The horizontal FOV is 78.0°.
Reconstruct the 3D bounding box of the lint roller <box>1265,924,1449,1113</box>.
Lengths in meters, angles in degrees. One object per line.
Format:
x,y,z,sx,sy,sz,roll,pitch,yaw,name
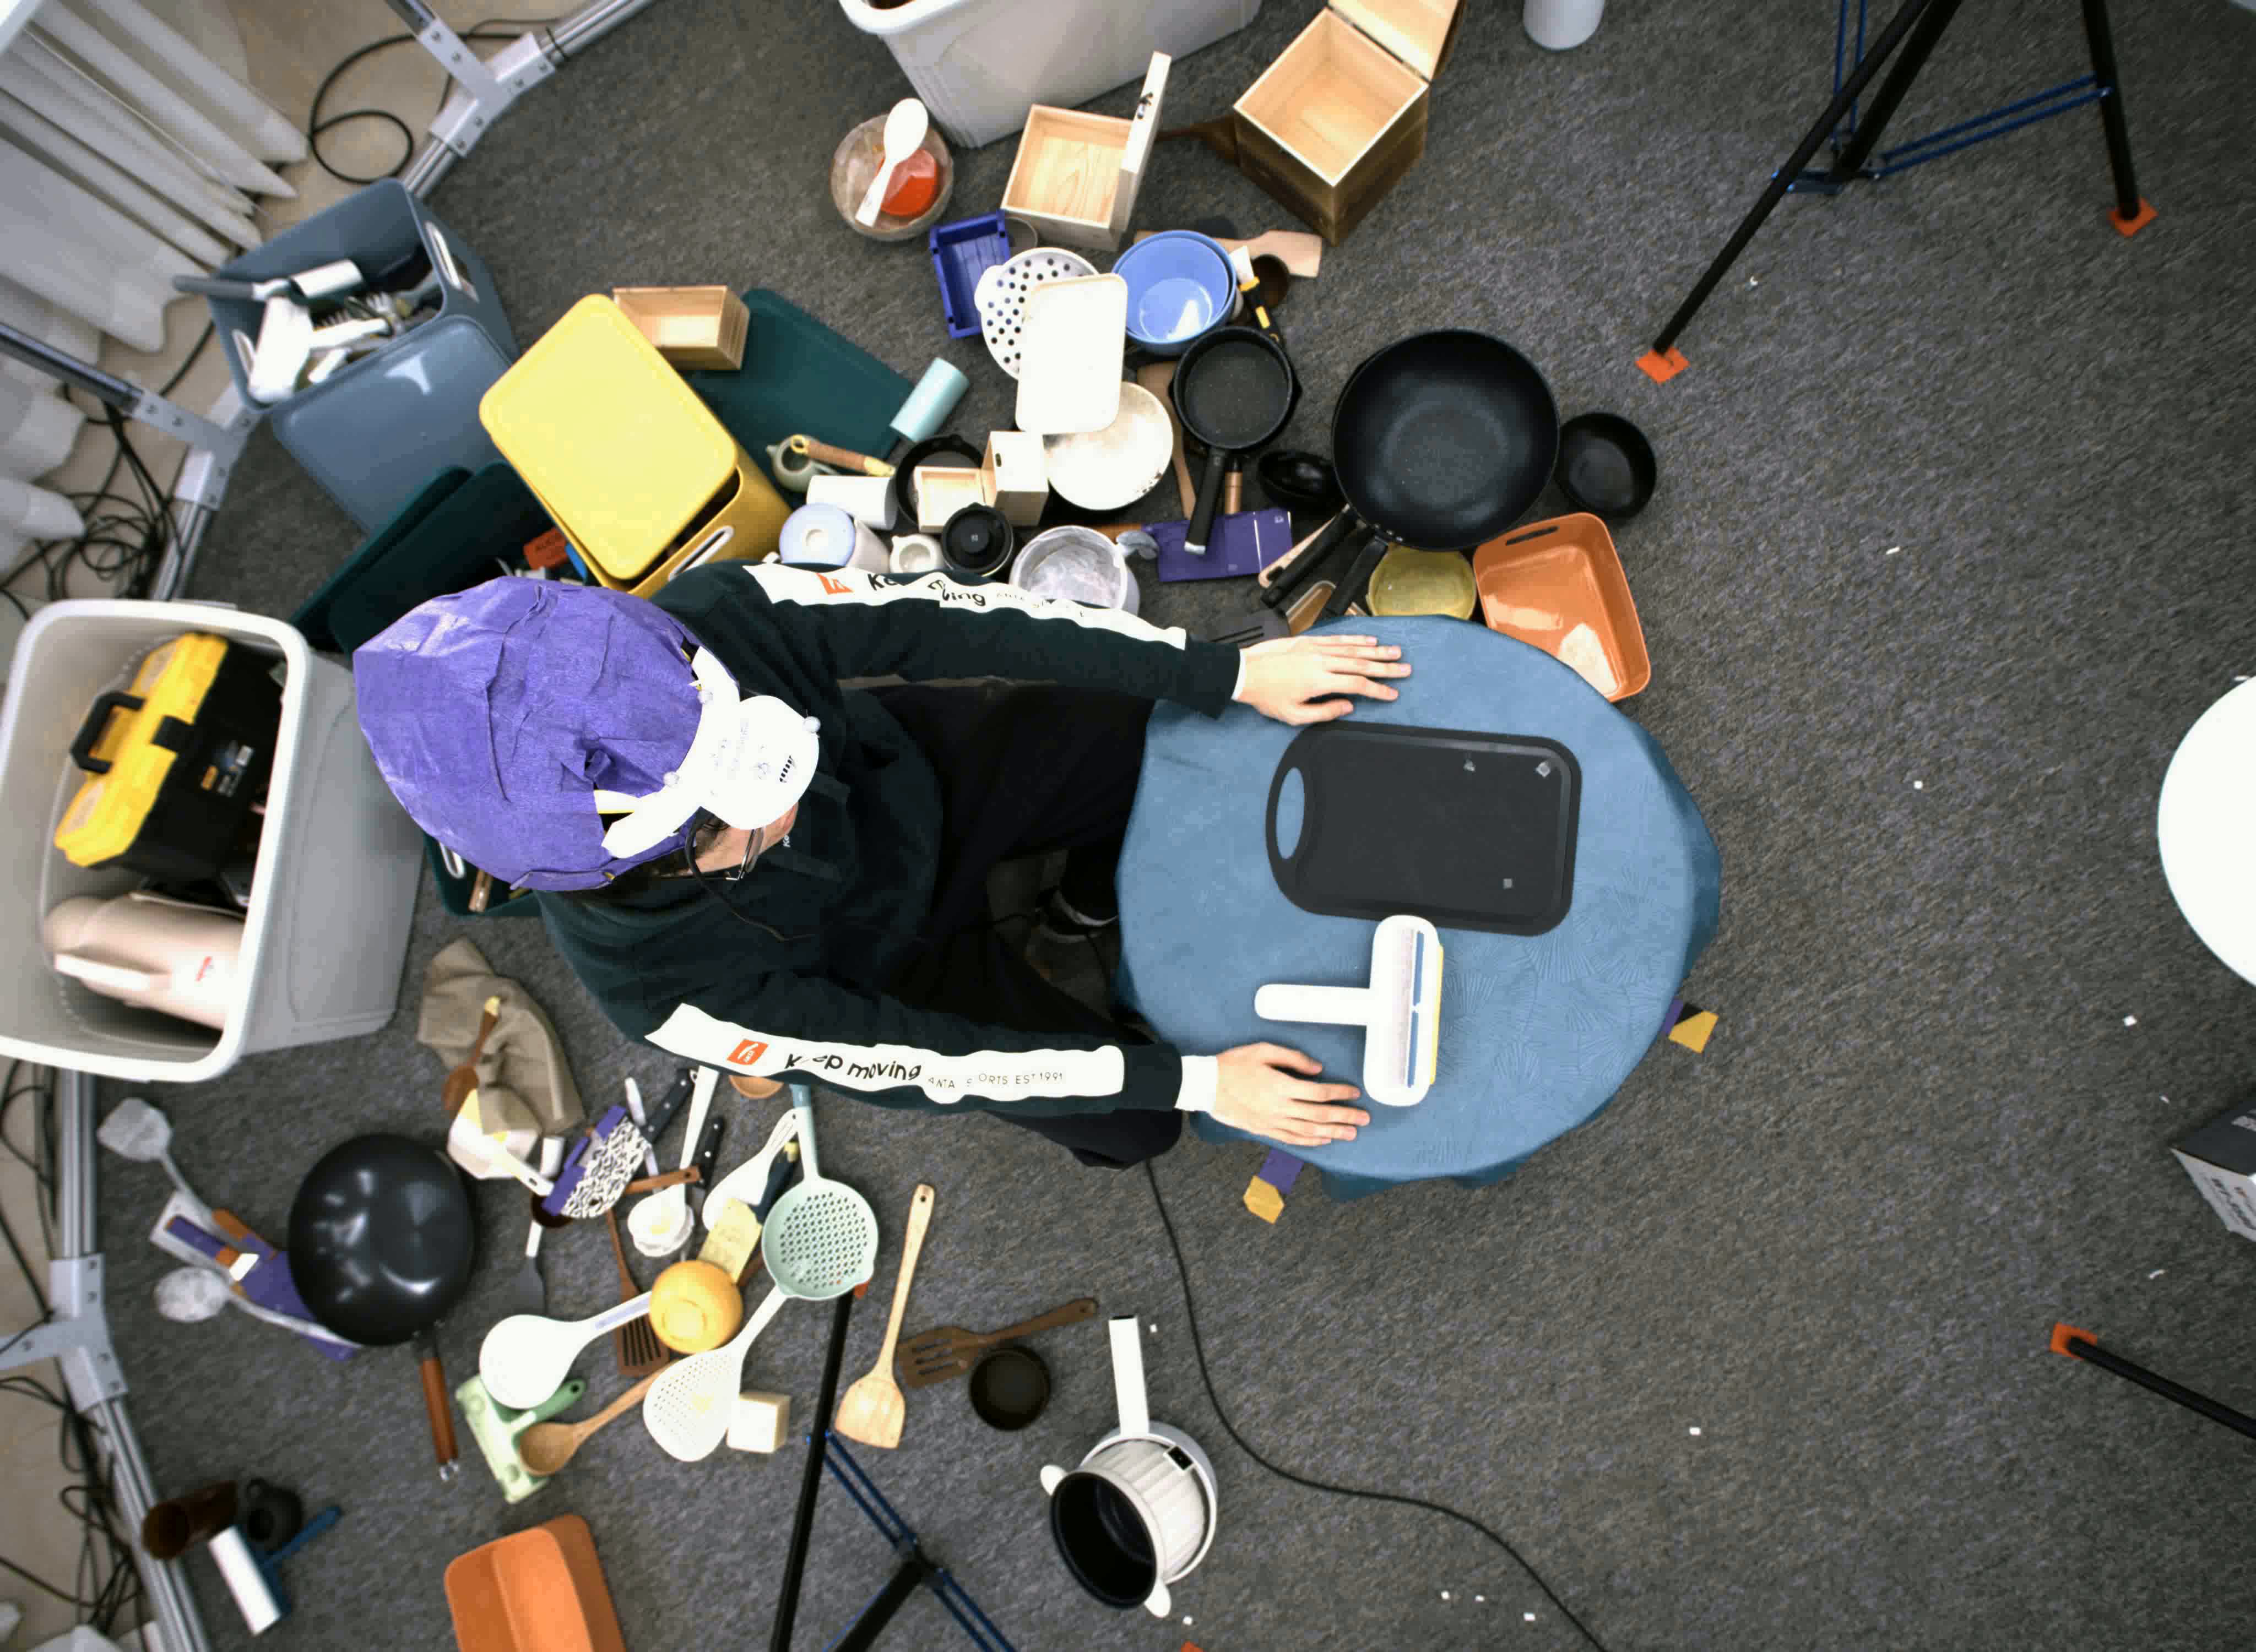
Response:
0.228,0.190,1.442,0.193,0.074,0.191,7,81,25,lint roller

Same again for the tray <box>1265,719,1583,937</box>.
0.307,-0.002,1.449,0.326,0.010,0.210,6,88,11,tray
